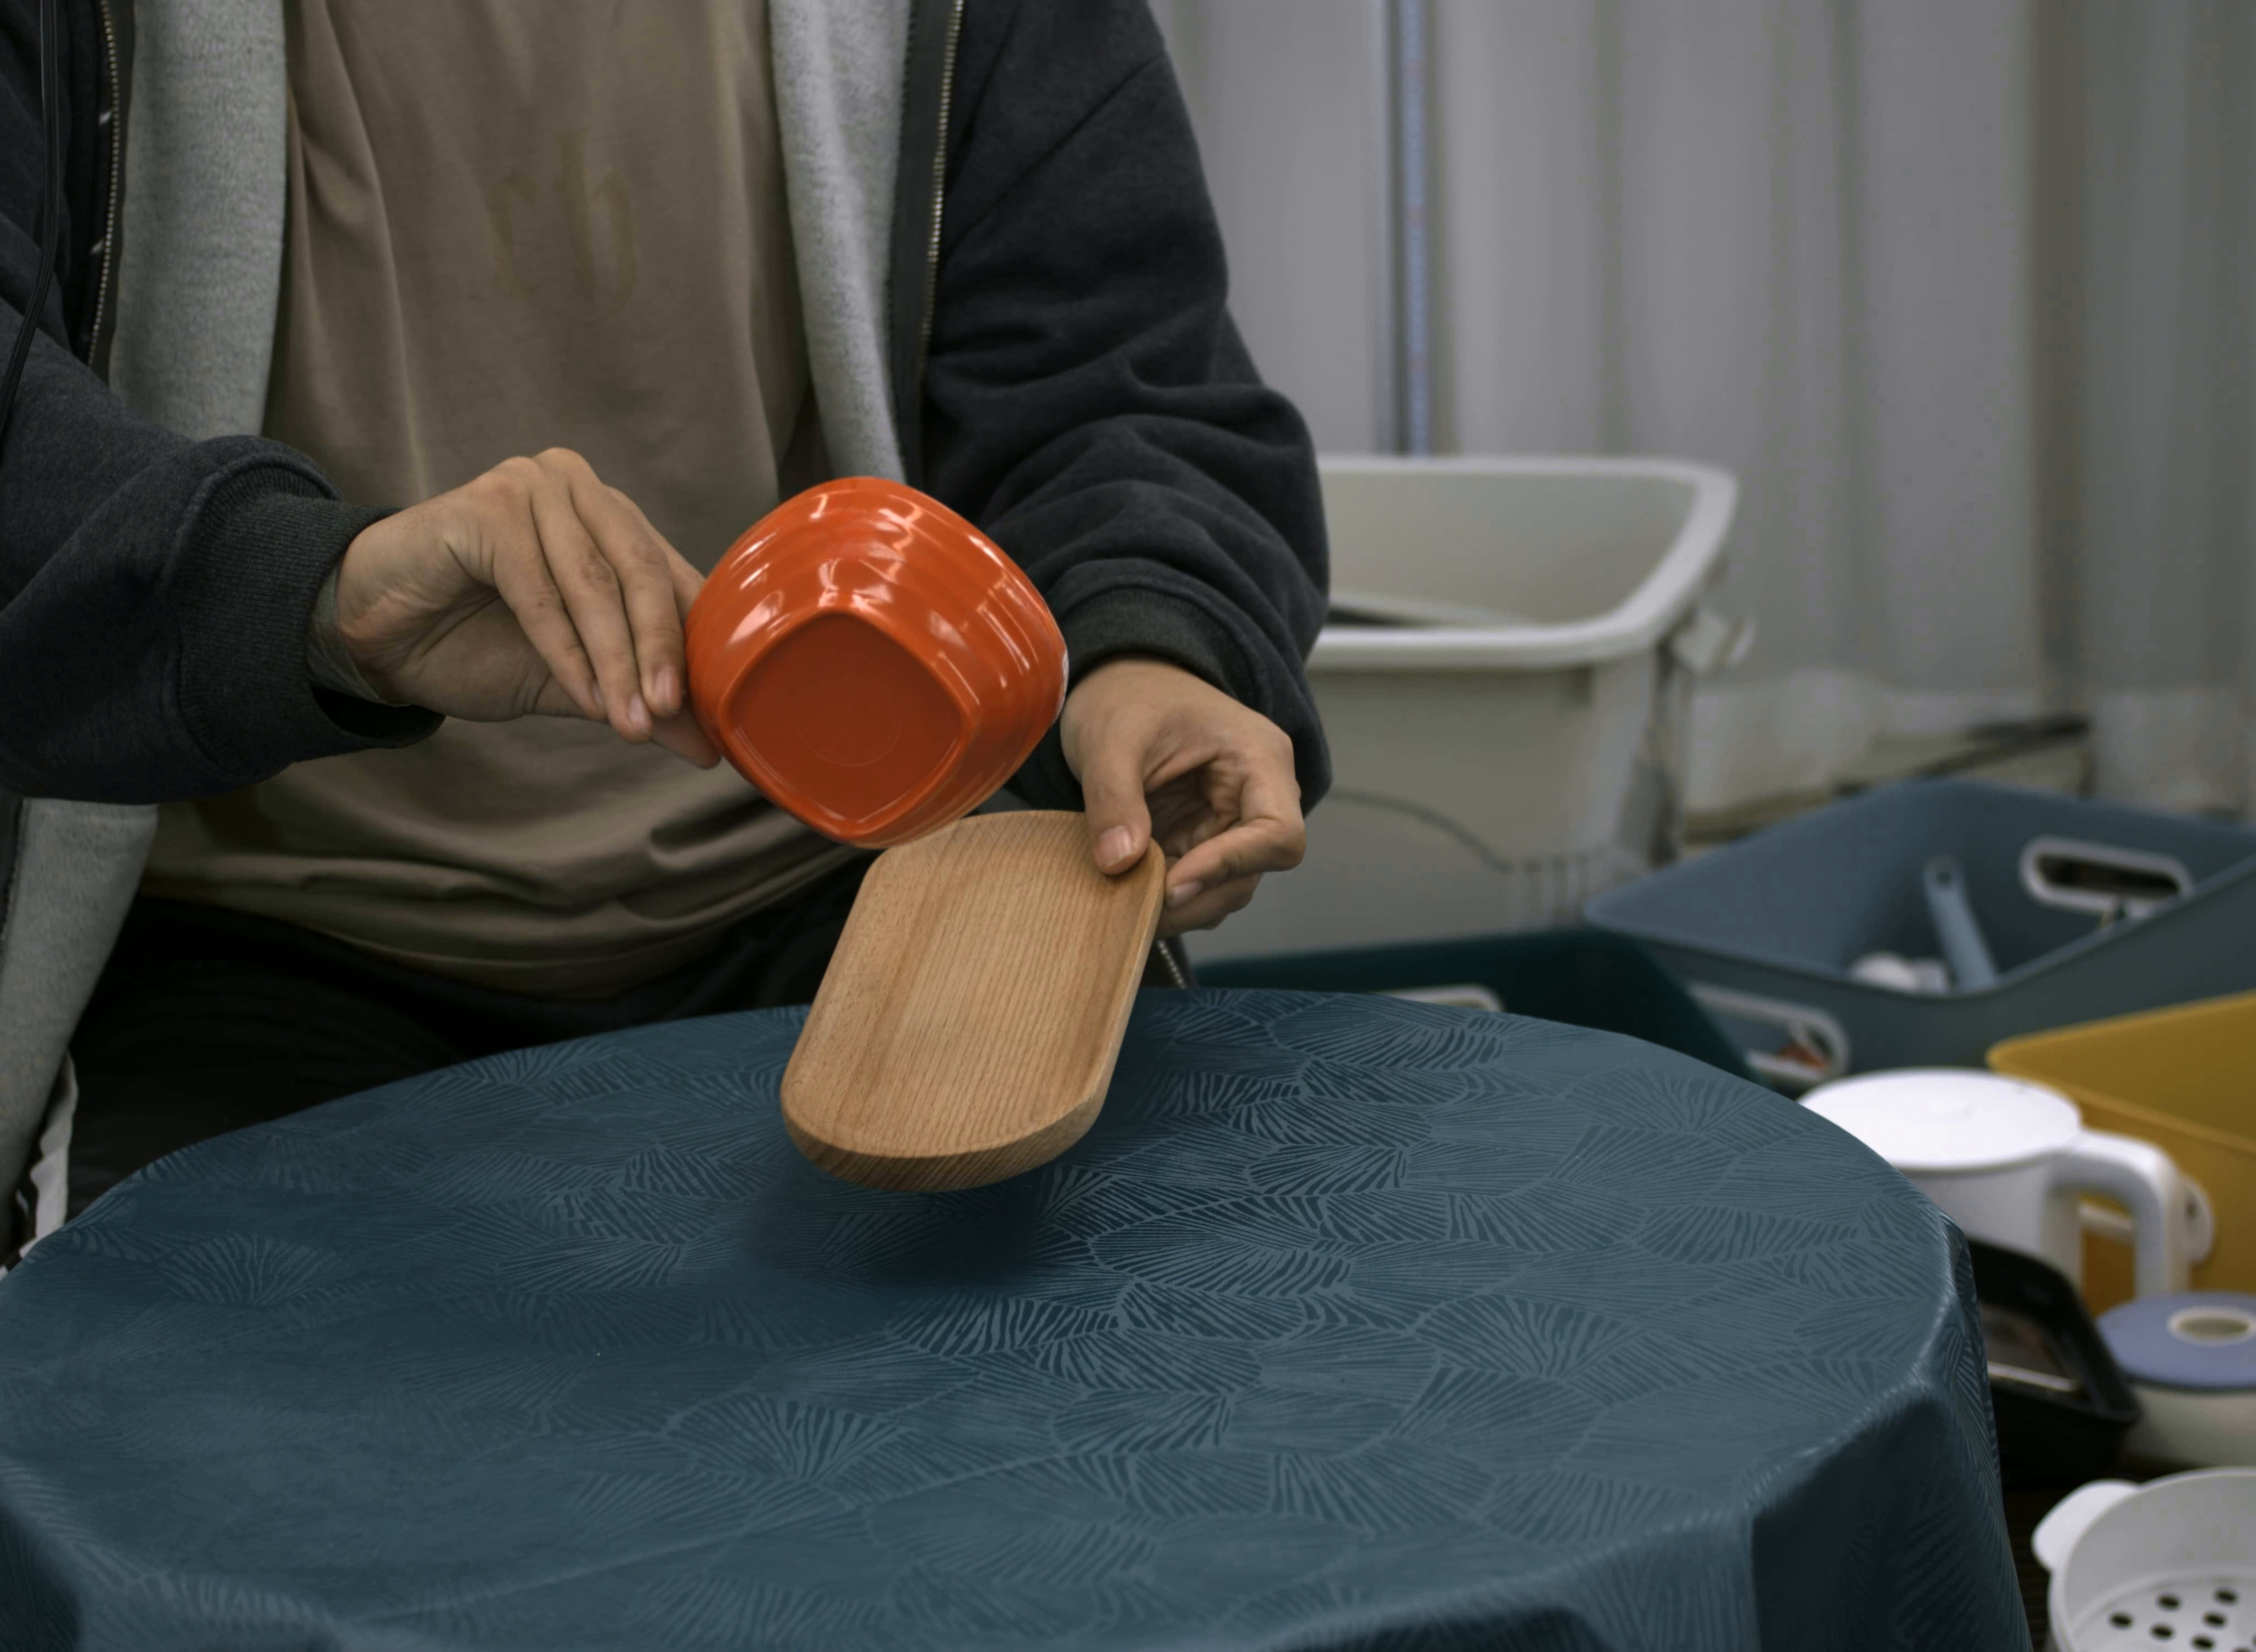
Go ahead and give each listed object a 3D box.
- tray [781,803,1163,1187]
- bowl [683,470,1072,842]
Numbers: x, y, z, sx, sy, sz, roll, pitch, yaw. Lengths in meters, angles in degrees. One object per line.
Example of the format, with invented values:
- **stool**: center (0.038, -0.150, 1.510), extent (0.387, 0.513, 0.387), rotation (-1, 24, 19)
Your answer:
- **tray**: center (-0.047, 0.050, 1.728), extent (0.101, 0.020, 0.233), rotation (0, 26, 8)
- **bowl**: center (-0.079, -0.042, 1.632), extent (0.119, 0.118, 0.052), rotation (0, 26, 9)
